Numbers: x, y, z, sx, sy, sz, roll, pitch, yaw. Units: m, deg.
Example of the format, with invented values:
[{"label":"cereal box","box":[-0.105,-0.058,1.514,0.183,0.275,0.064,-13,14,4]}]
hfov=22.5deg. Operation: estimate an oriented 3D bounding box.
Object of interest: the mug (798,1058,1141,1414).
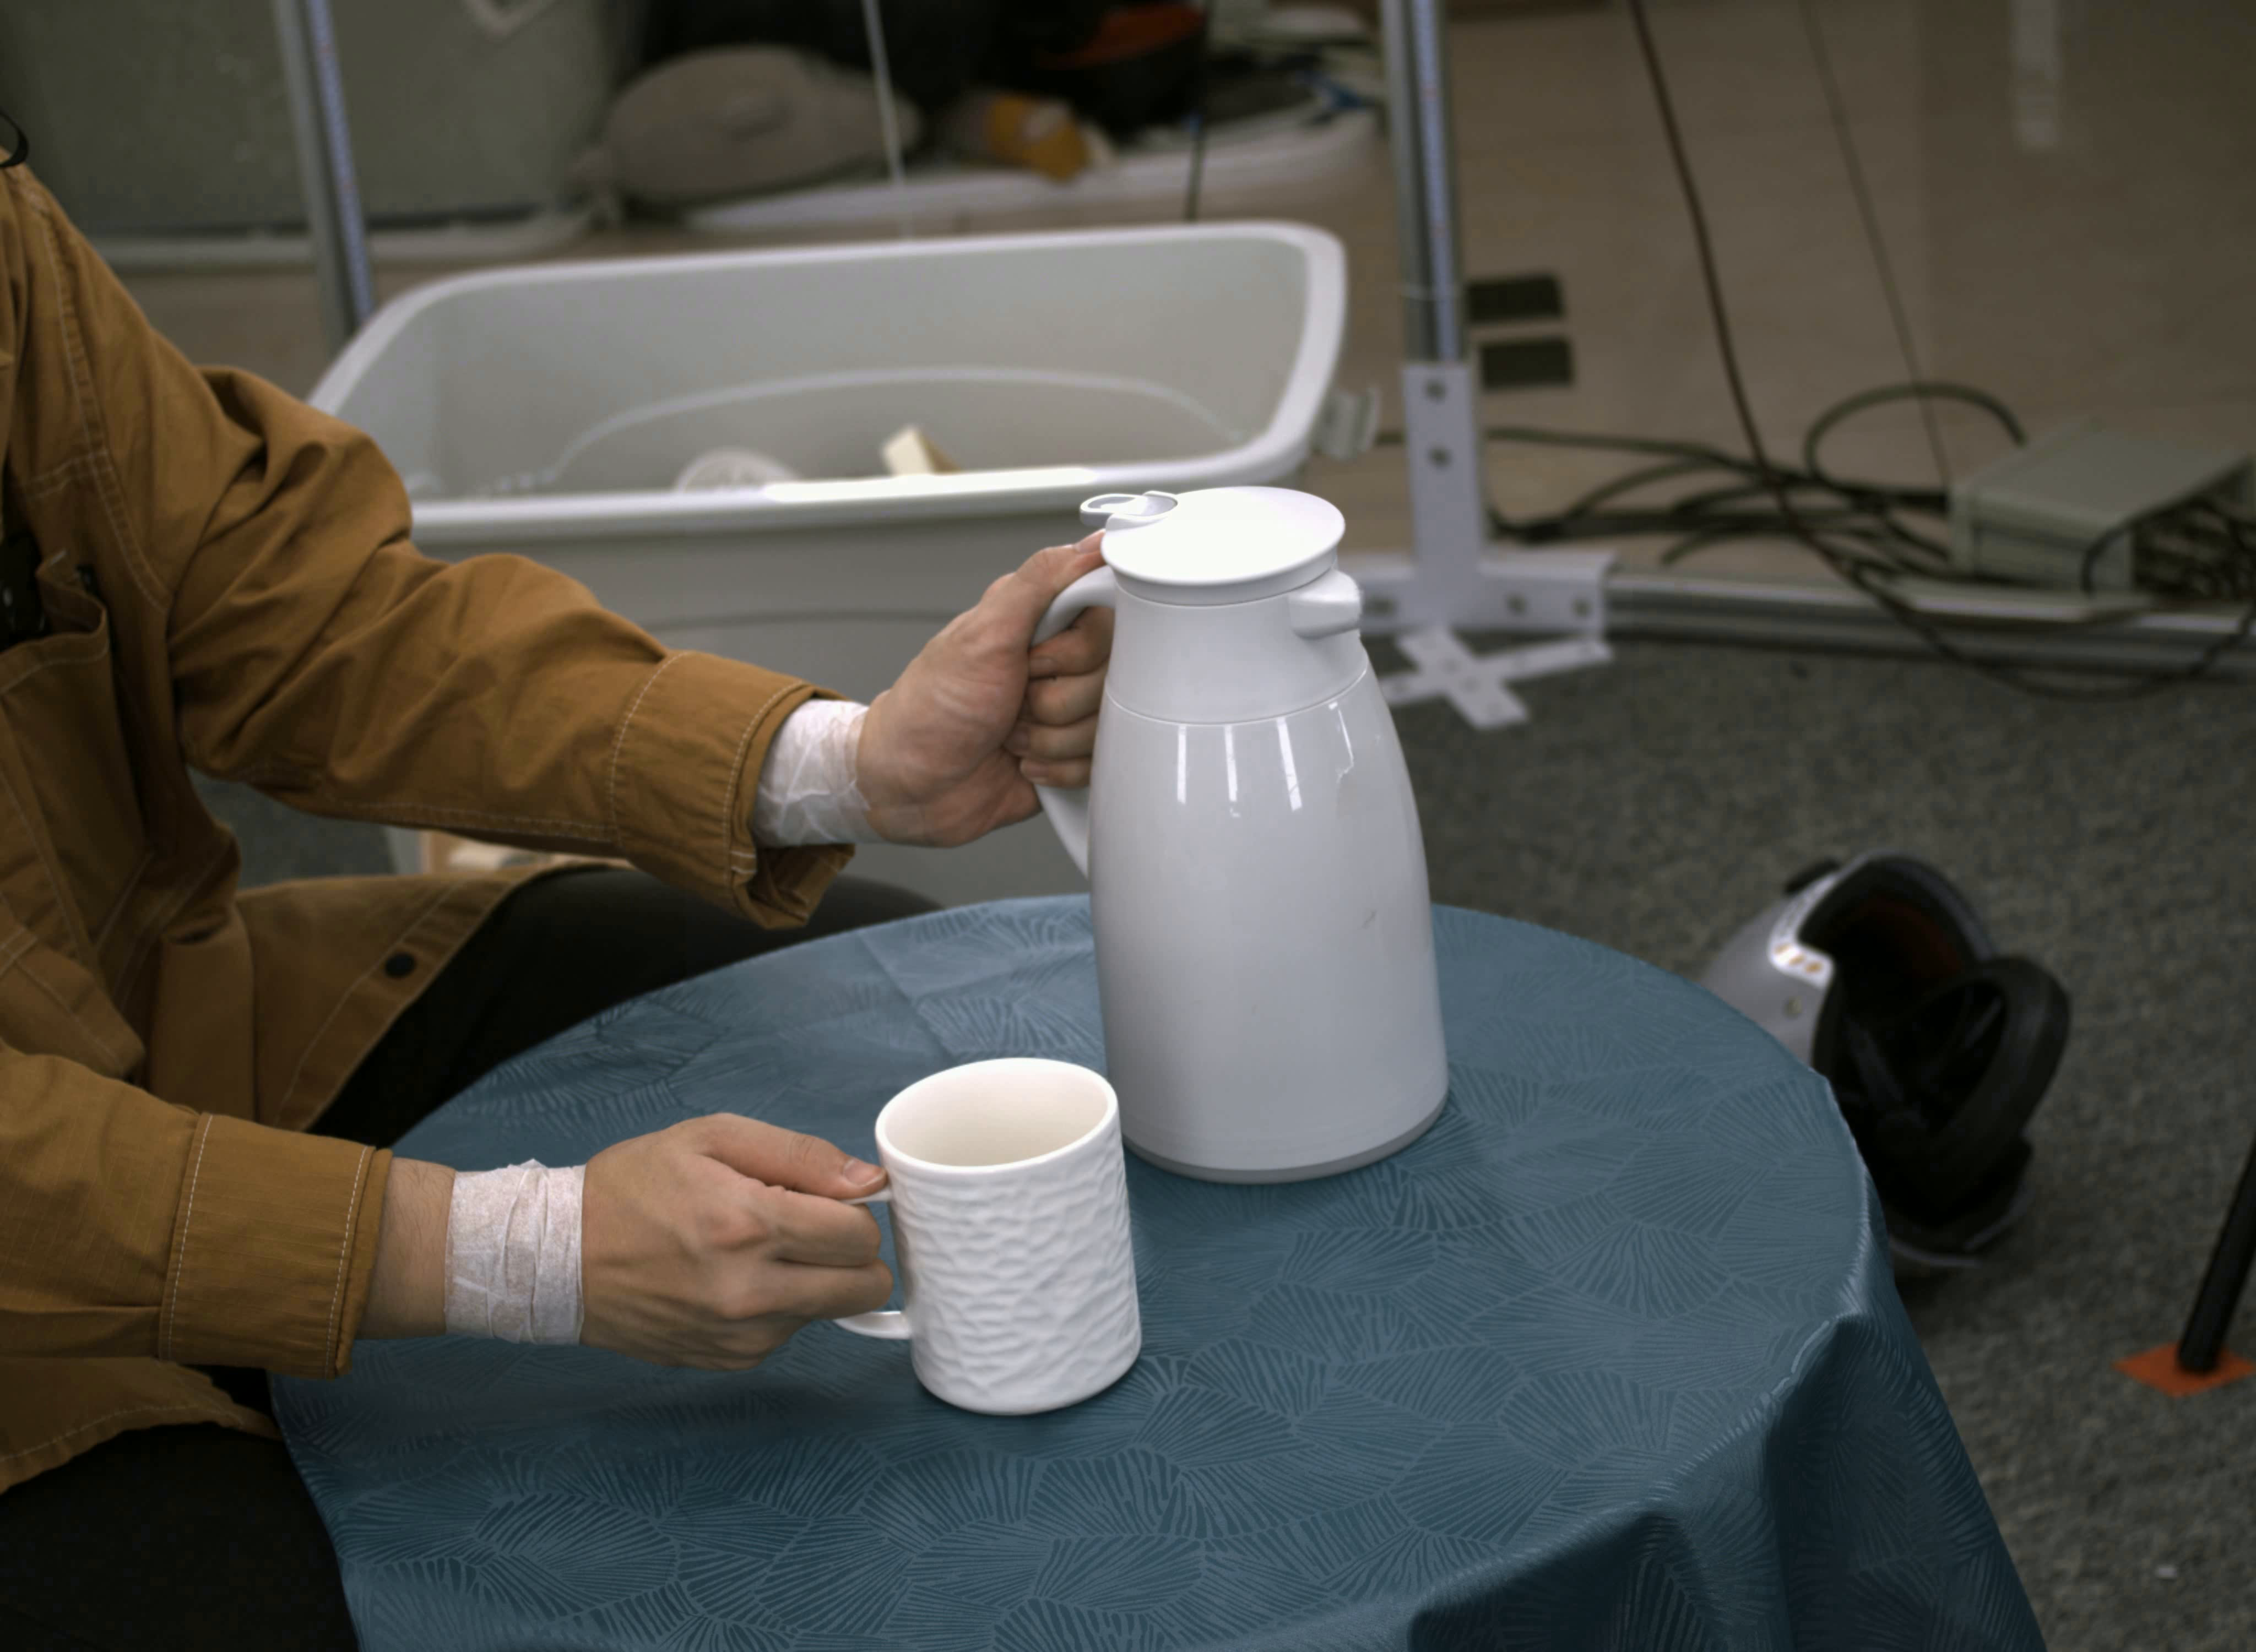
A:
[{"label":"mug","box":[-0.057,0.150,2.018,0.118,0.103,0.084,-12,26,-11]}]

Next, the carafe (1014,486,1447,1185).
[{"label":"carafe","box":[0.030,-0.006,2.156,0.167,0.252,0.131,13,32,35]}]
